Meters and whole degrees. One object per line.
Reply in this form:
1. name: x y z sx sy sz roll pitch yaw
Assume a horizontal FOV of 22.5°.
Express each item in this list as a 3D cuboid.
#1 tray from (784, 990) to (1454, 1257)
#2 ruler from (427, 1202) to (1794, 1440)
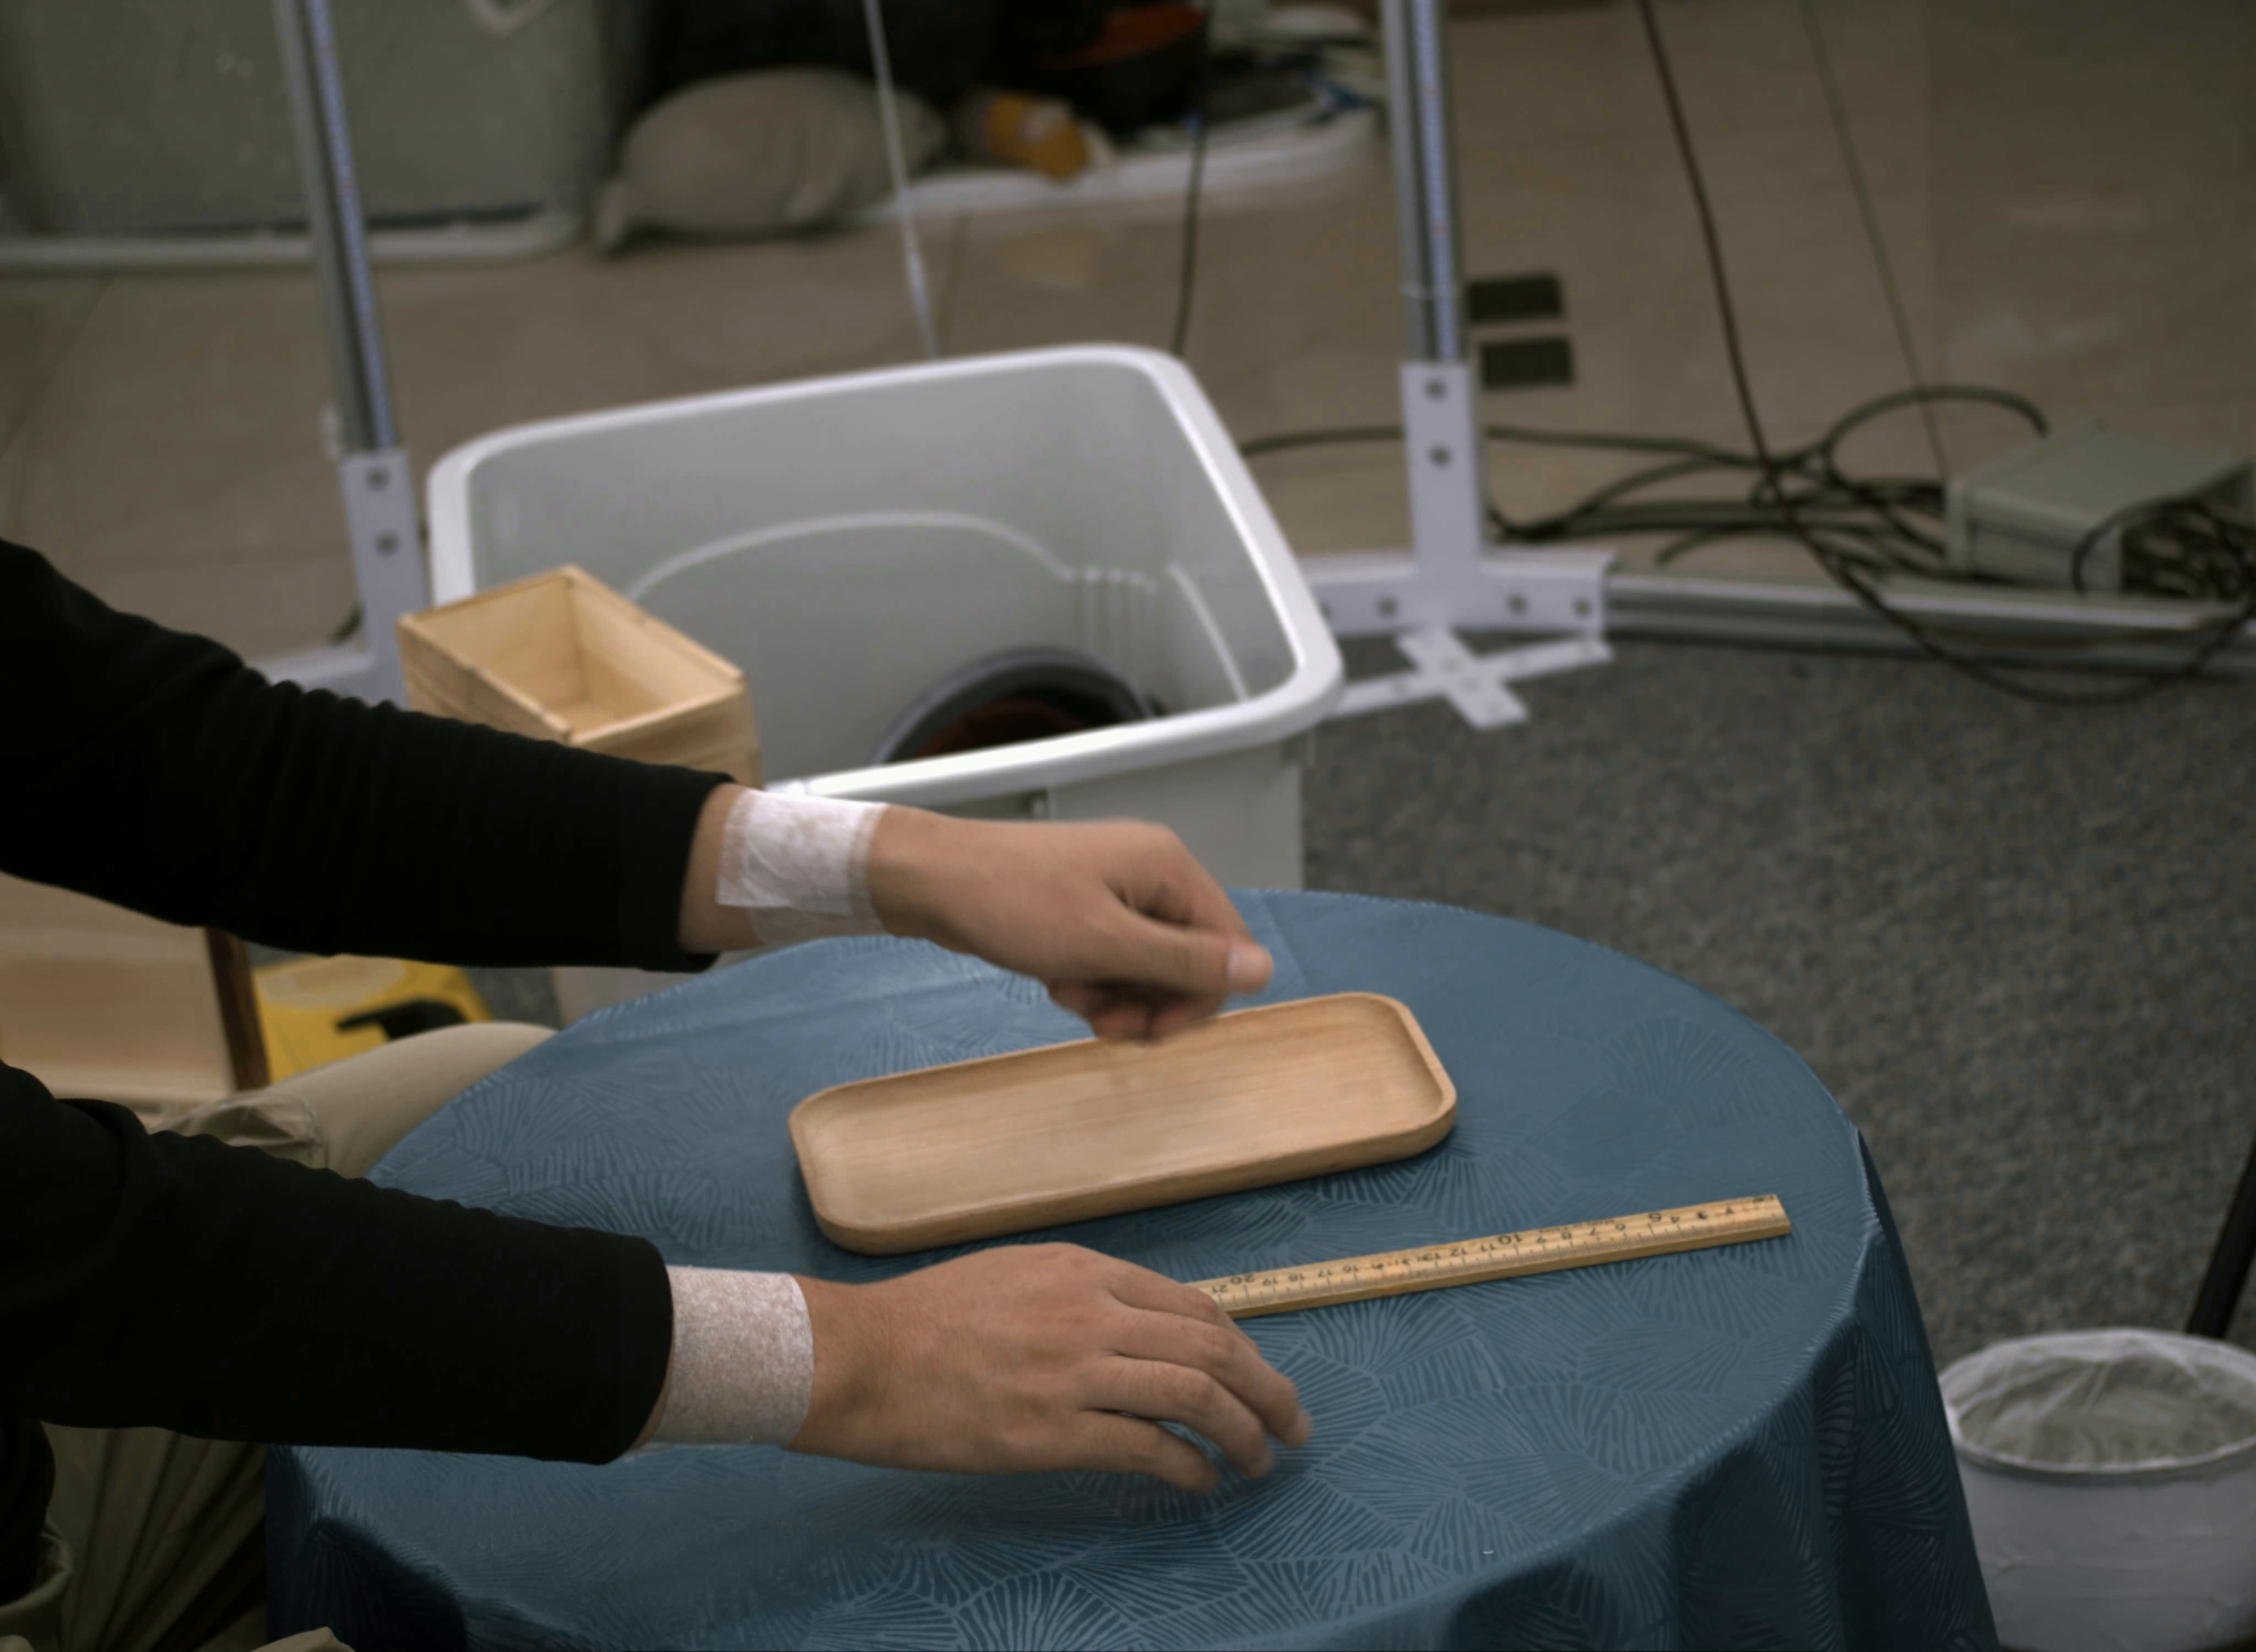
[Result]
1. tray: -0.004 0.114 2.183 0.250 0.023 0.129 -11 23 -6
2. ruler: -0.006 0.178 2.060 0.499 0.006 0.026 -8 23 -3
